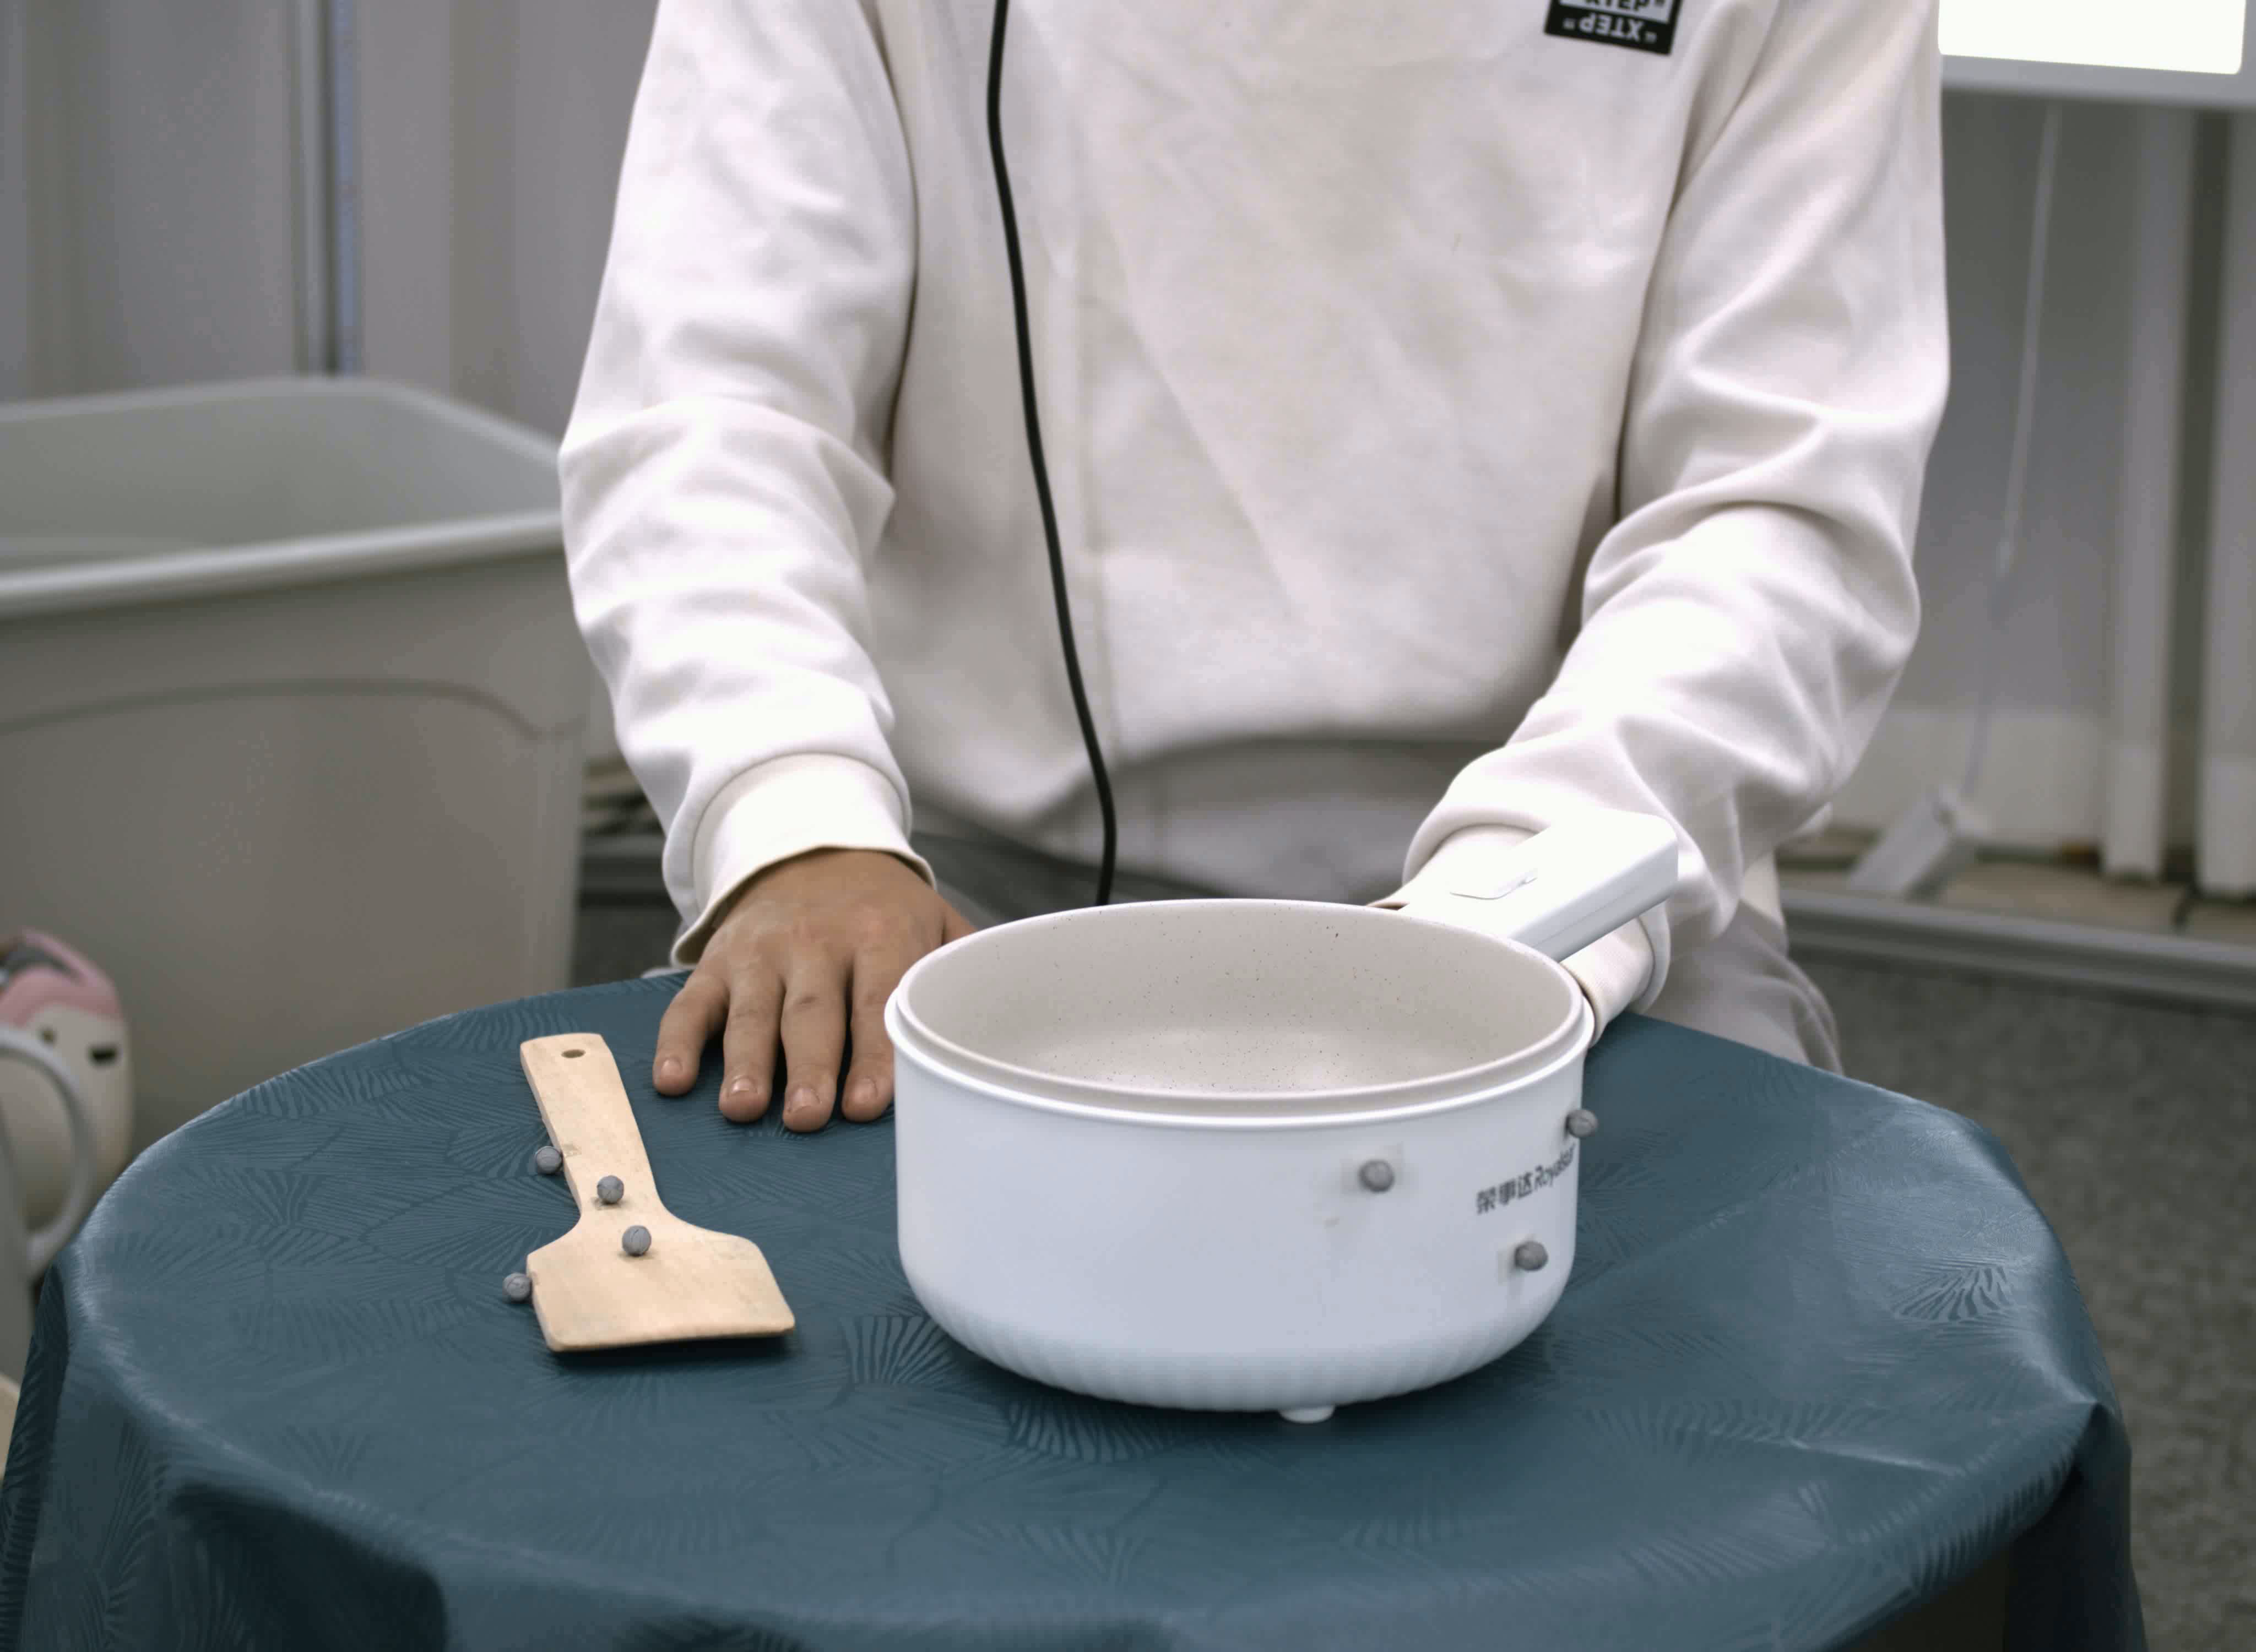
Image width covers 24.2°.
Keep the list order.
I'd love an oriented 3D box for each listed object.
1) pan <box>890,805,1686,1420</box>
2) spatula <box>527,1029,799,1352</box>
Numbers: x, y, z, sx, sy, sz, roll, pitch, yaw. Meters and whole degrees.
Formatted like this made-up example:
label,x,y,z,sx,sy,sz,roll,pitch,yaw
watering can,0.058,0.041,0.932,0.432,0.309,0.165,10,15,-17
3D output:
label,x,y,z,sx,sy,sz,roll,pitch,yaw
pan,0.071,0.078,1.568,0.199,0.103,0.356,9,17,29
spatula,-0.158,0.109,1.618,0.072,0.011,0.290,-4,16,-12
